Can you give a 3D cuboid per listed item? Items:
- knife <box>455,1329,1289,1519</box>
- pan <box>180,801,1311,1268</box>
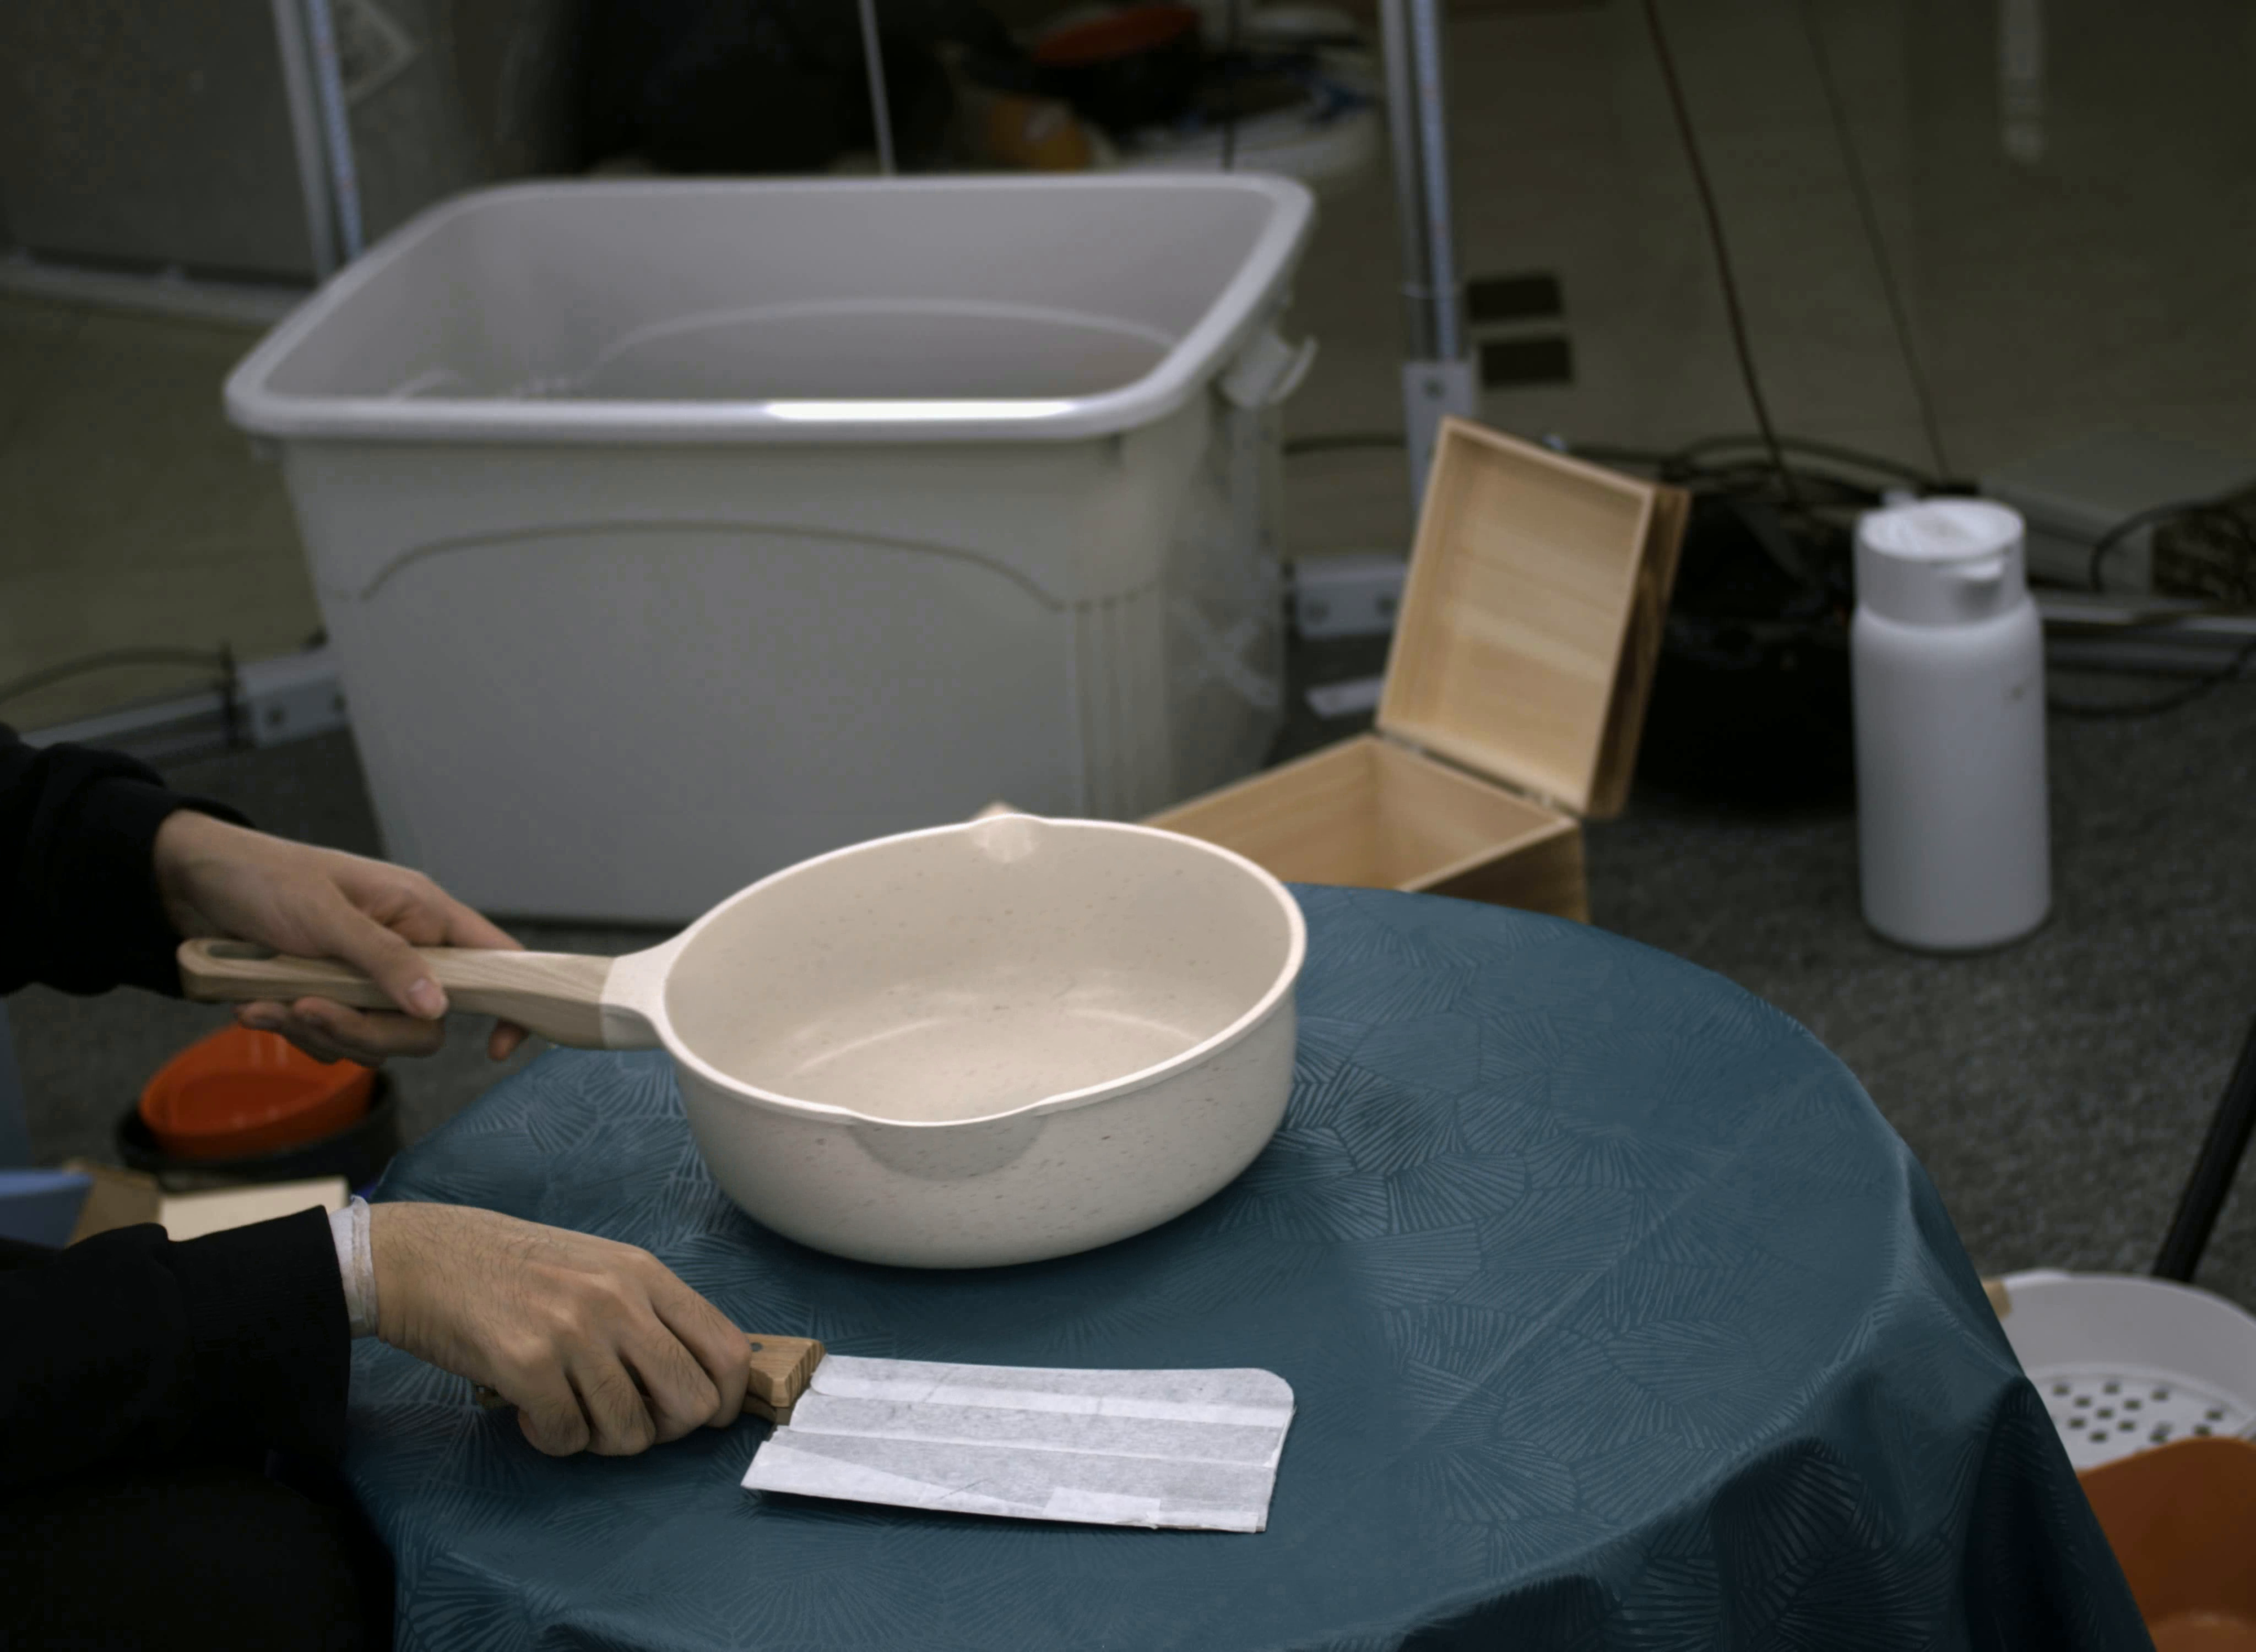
[{"bbox_3d":[-0.091,0.207,2.003,0.314,0.022,0.112,5,28,17],"label":"knife"},{"bbox_3d":[-0.143,0.084,2.181,0.434,0.104,0.259,-4,28,5],"label":"pan"}]
